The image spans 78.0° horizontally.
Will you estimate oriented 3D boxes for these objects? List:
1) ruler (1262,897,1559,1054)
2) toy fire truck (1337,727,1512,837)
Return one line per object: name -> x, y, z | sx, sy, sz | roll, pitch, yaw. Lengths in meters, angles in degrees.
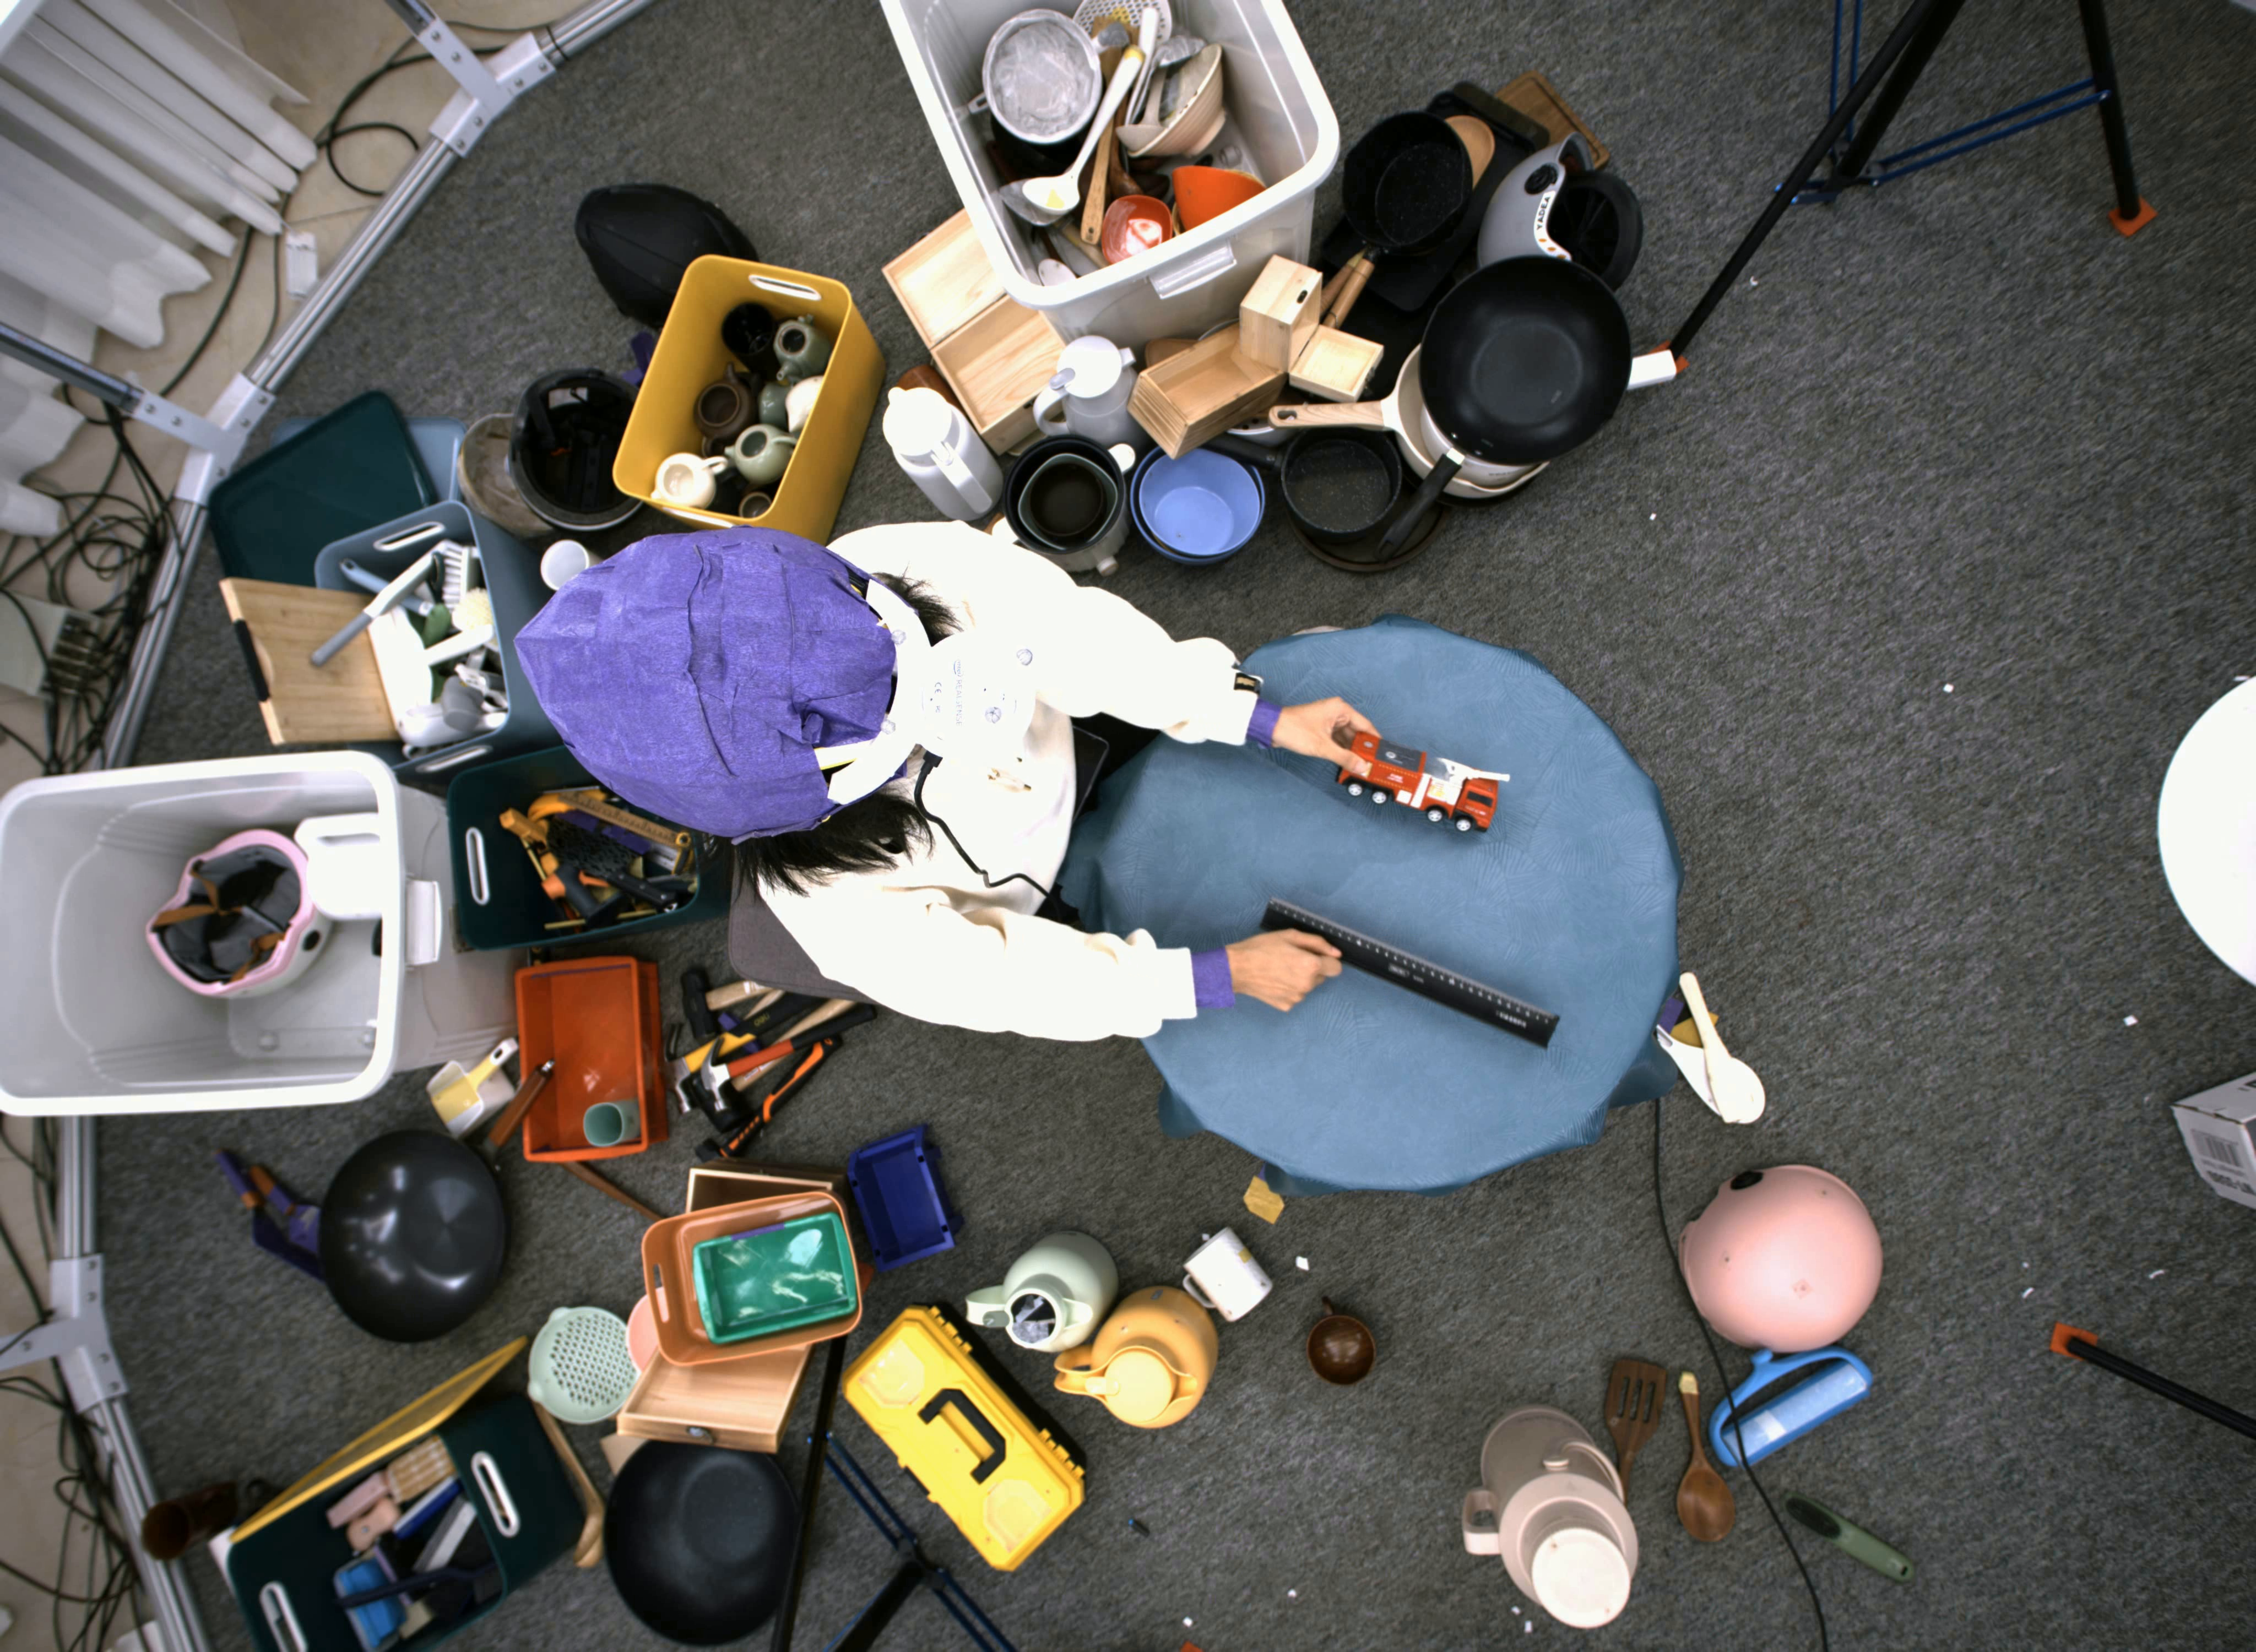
ruler -> 0.283, 0.150, 1.398 | 0.312, 0.017, 0.040 | 24, 116, 10
toy fire truck -> 0.302, -0.048, 1.410 | 0.168, 0.052, 0.072 | 18, 132, 7
